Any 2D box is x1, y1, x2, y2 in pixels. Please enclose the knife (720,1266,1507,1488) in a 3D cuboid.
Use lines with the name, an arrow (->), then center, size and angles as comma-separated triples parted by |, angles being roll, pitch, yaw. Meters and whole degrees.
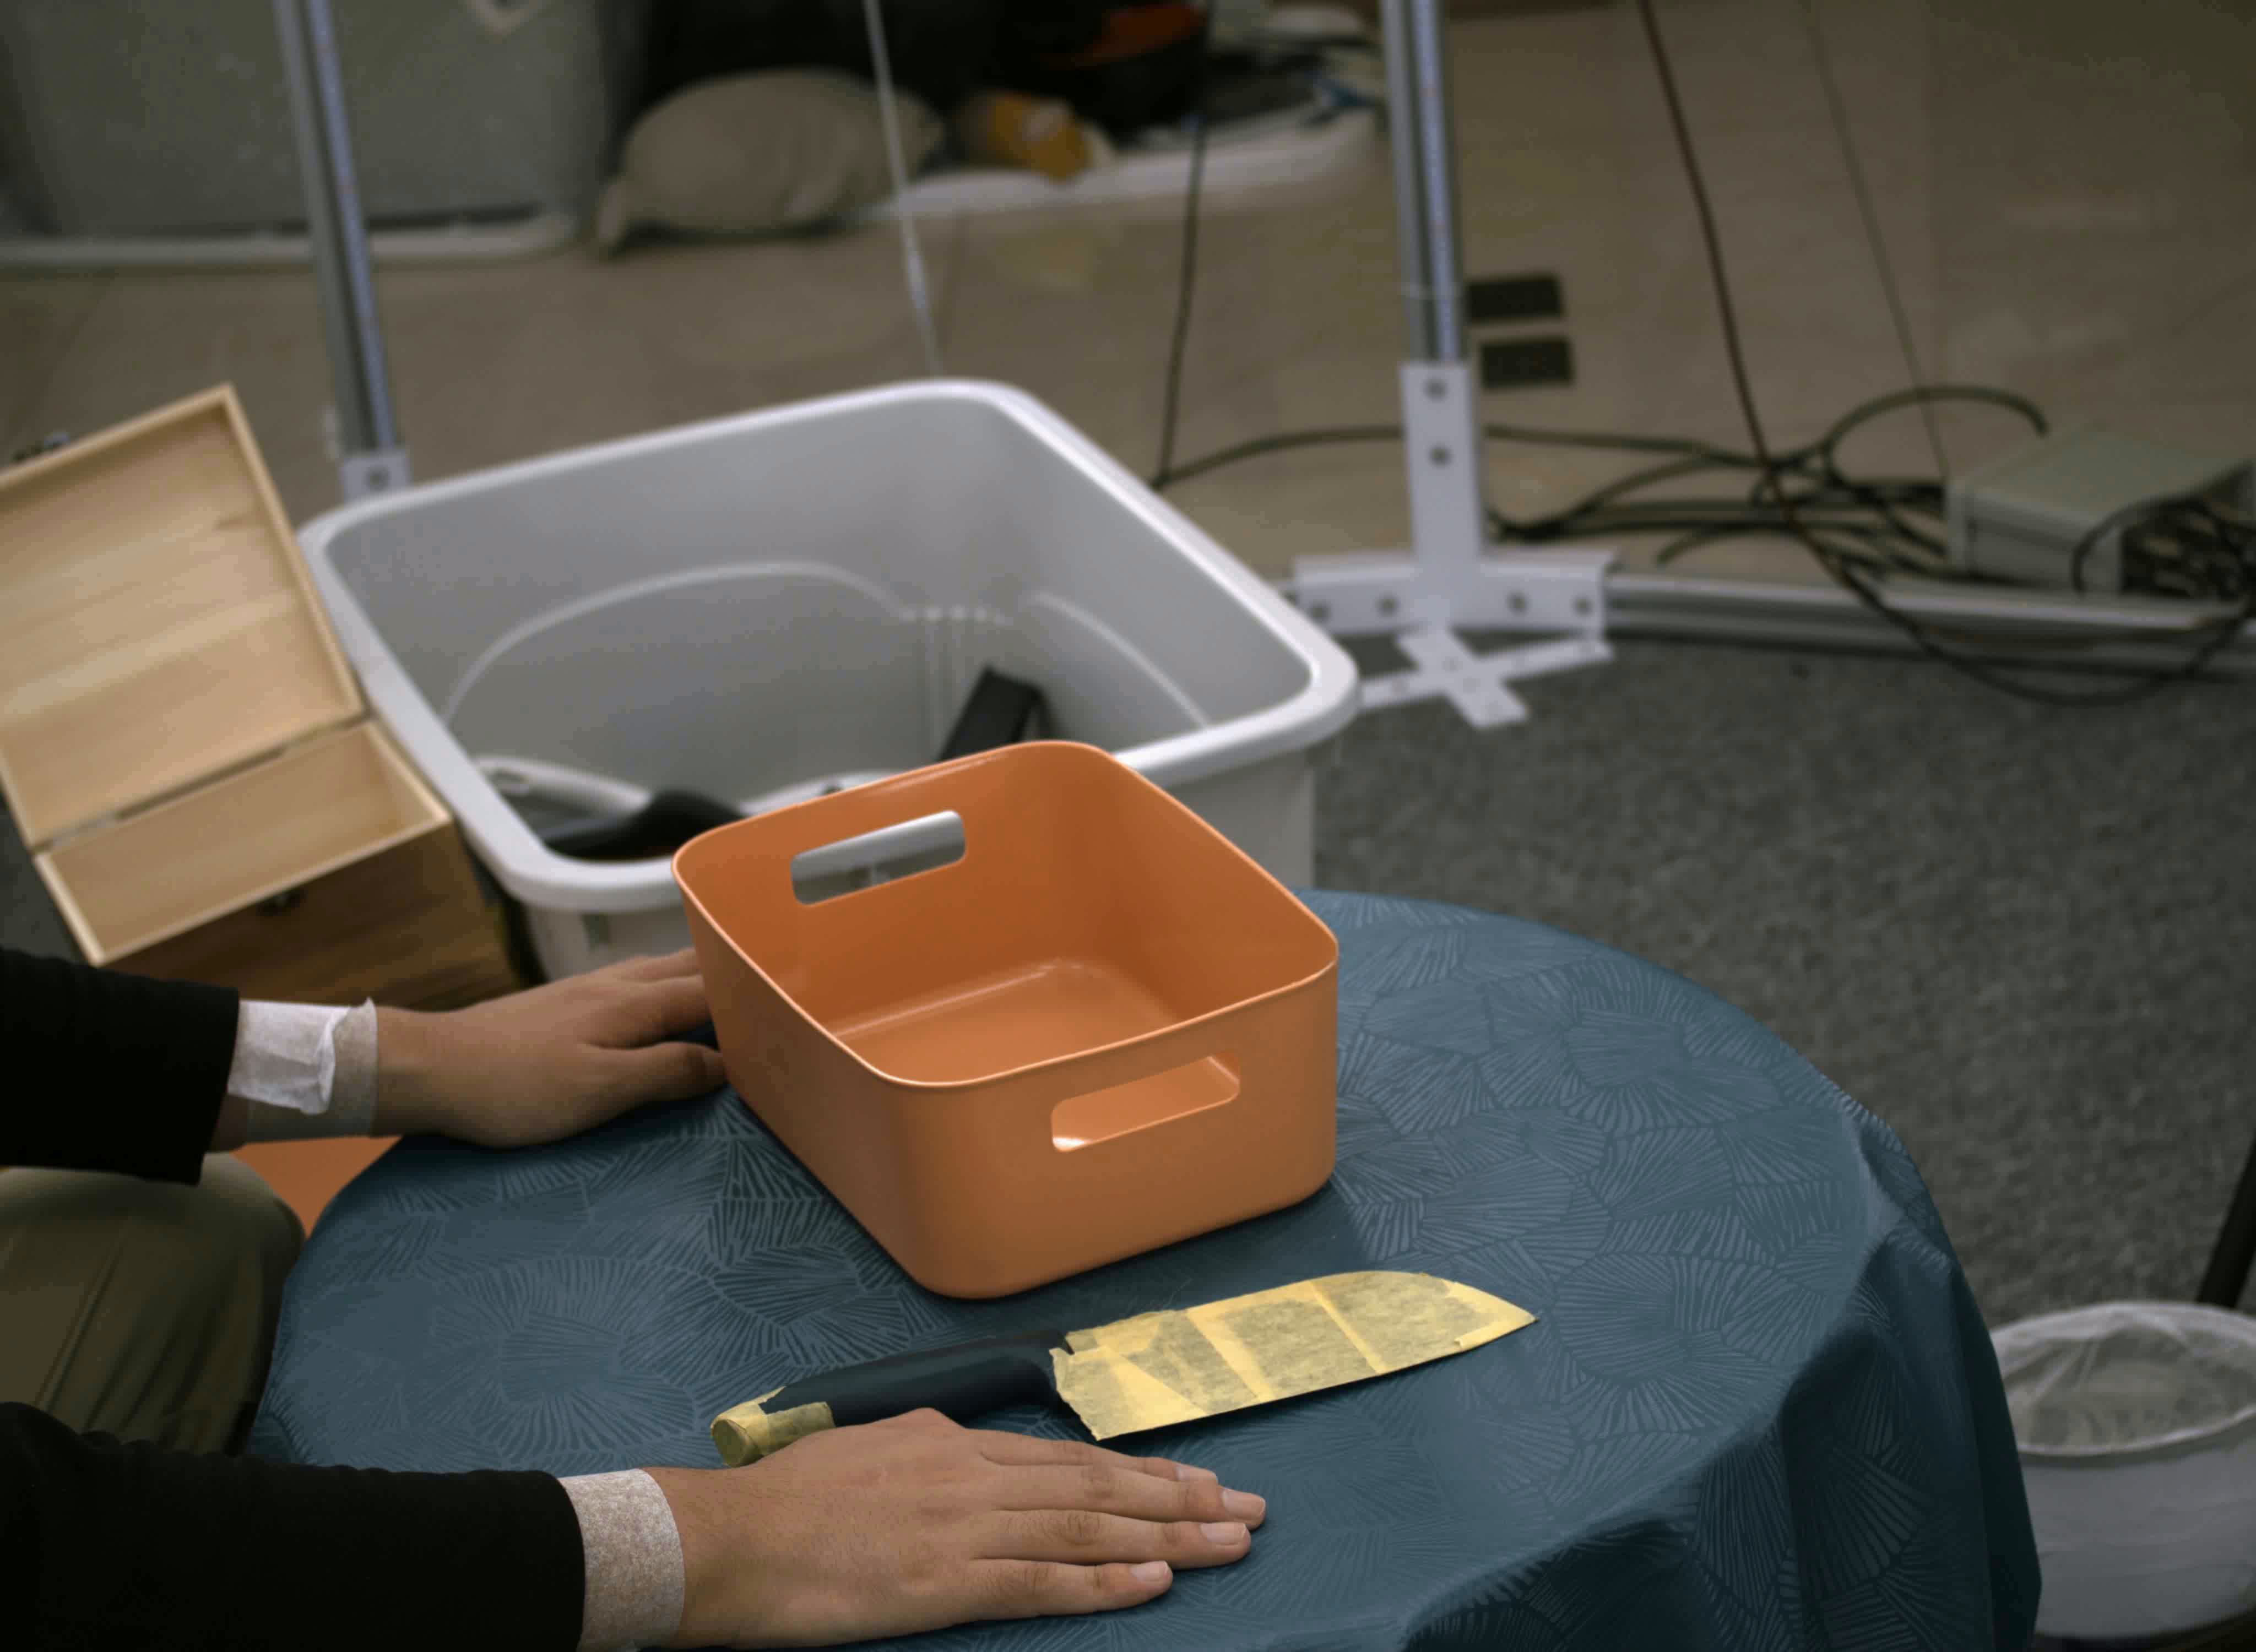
knife -> -0.002, 0.196, 2.011 | 0.288, 0.027, 0.080 | -12, 23, -13

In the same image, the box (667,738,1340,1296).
box -> -0.048, 0.073, 2.177 | 0.198, 0.104, 0.270 | -16, 27, -20
